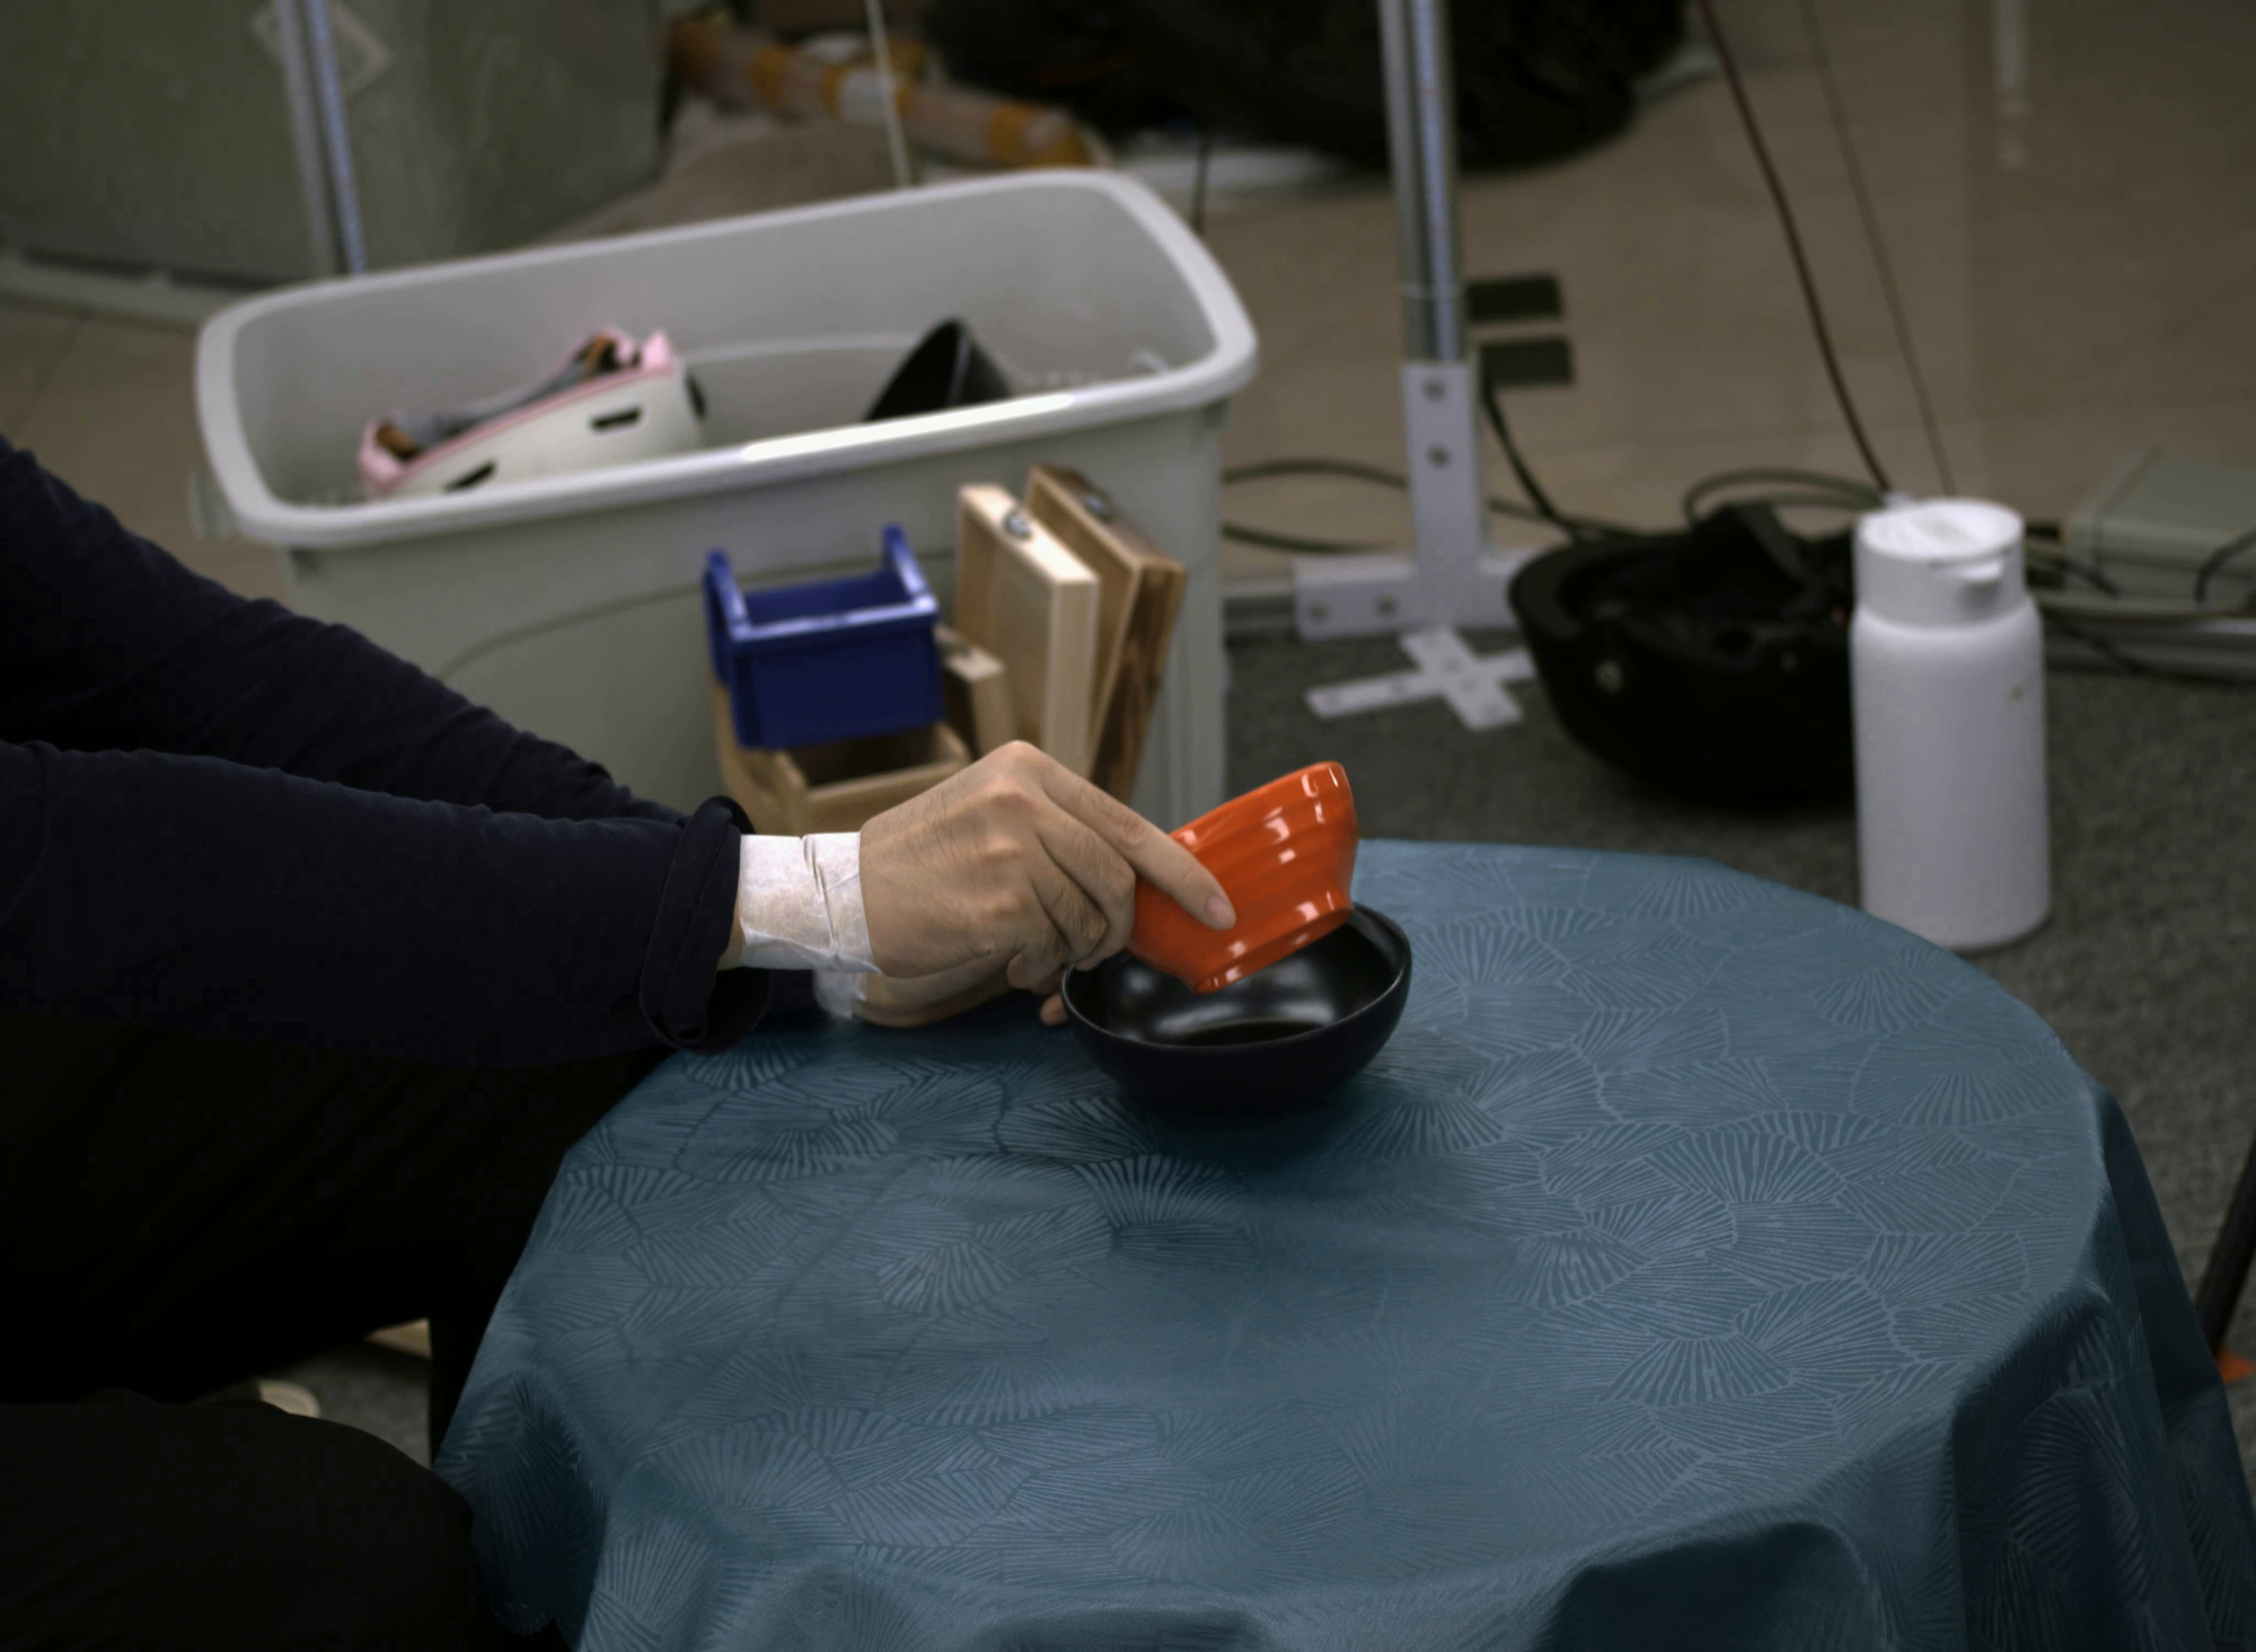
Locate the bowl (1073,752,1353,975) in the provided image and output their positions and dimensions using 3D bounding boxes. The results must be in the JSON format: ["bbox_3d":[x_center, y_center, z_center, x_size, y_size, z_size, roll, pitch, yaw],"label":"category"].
[{"bbox_3d":[0.039,0.018,2.092,0.119,0.051,0.119,-25,-2,0],"label":"bowl"}]

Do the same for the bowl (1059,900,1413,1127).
[{"bbox_3d":[0.045,0.079,2.217,0.140,0.050,0.138,-9,24,4],"label":"bowl"}]
